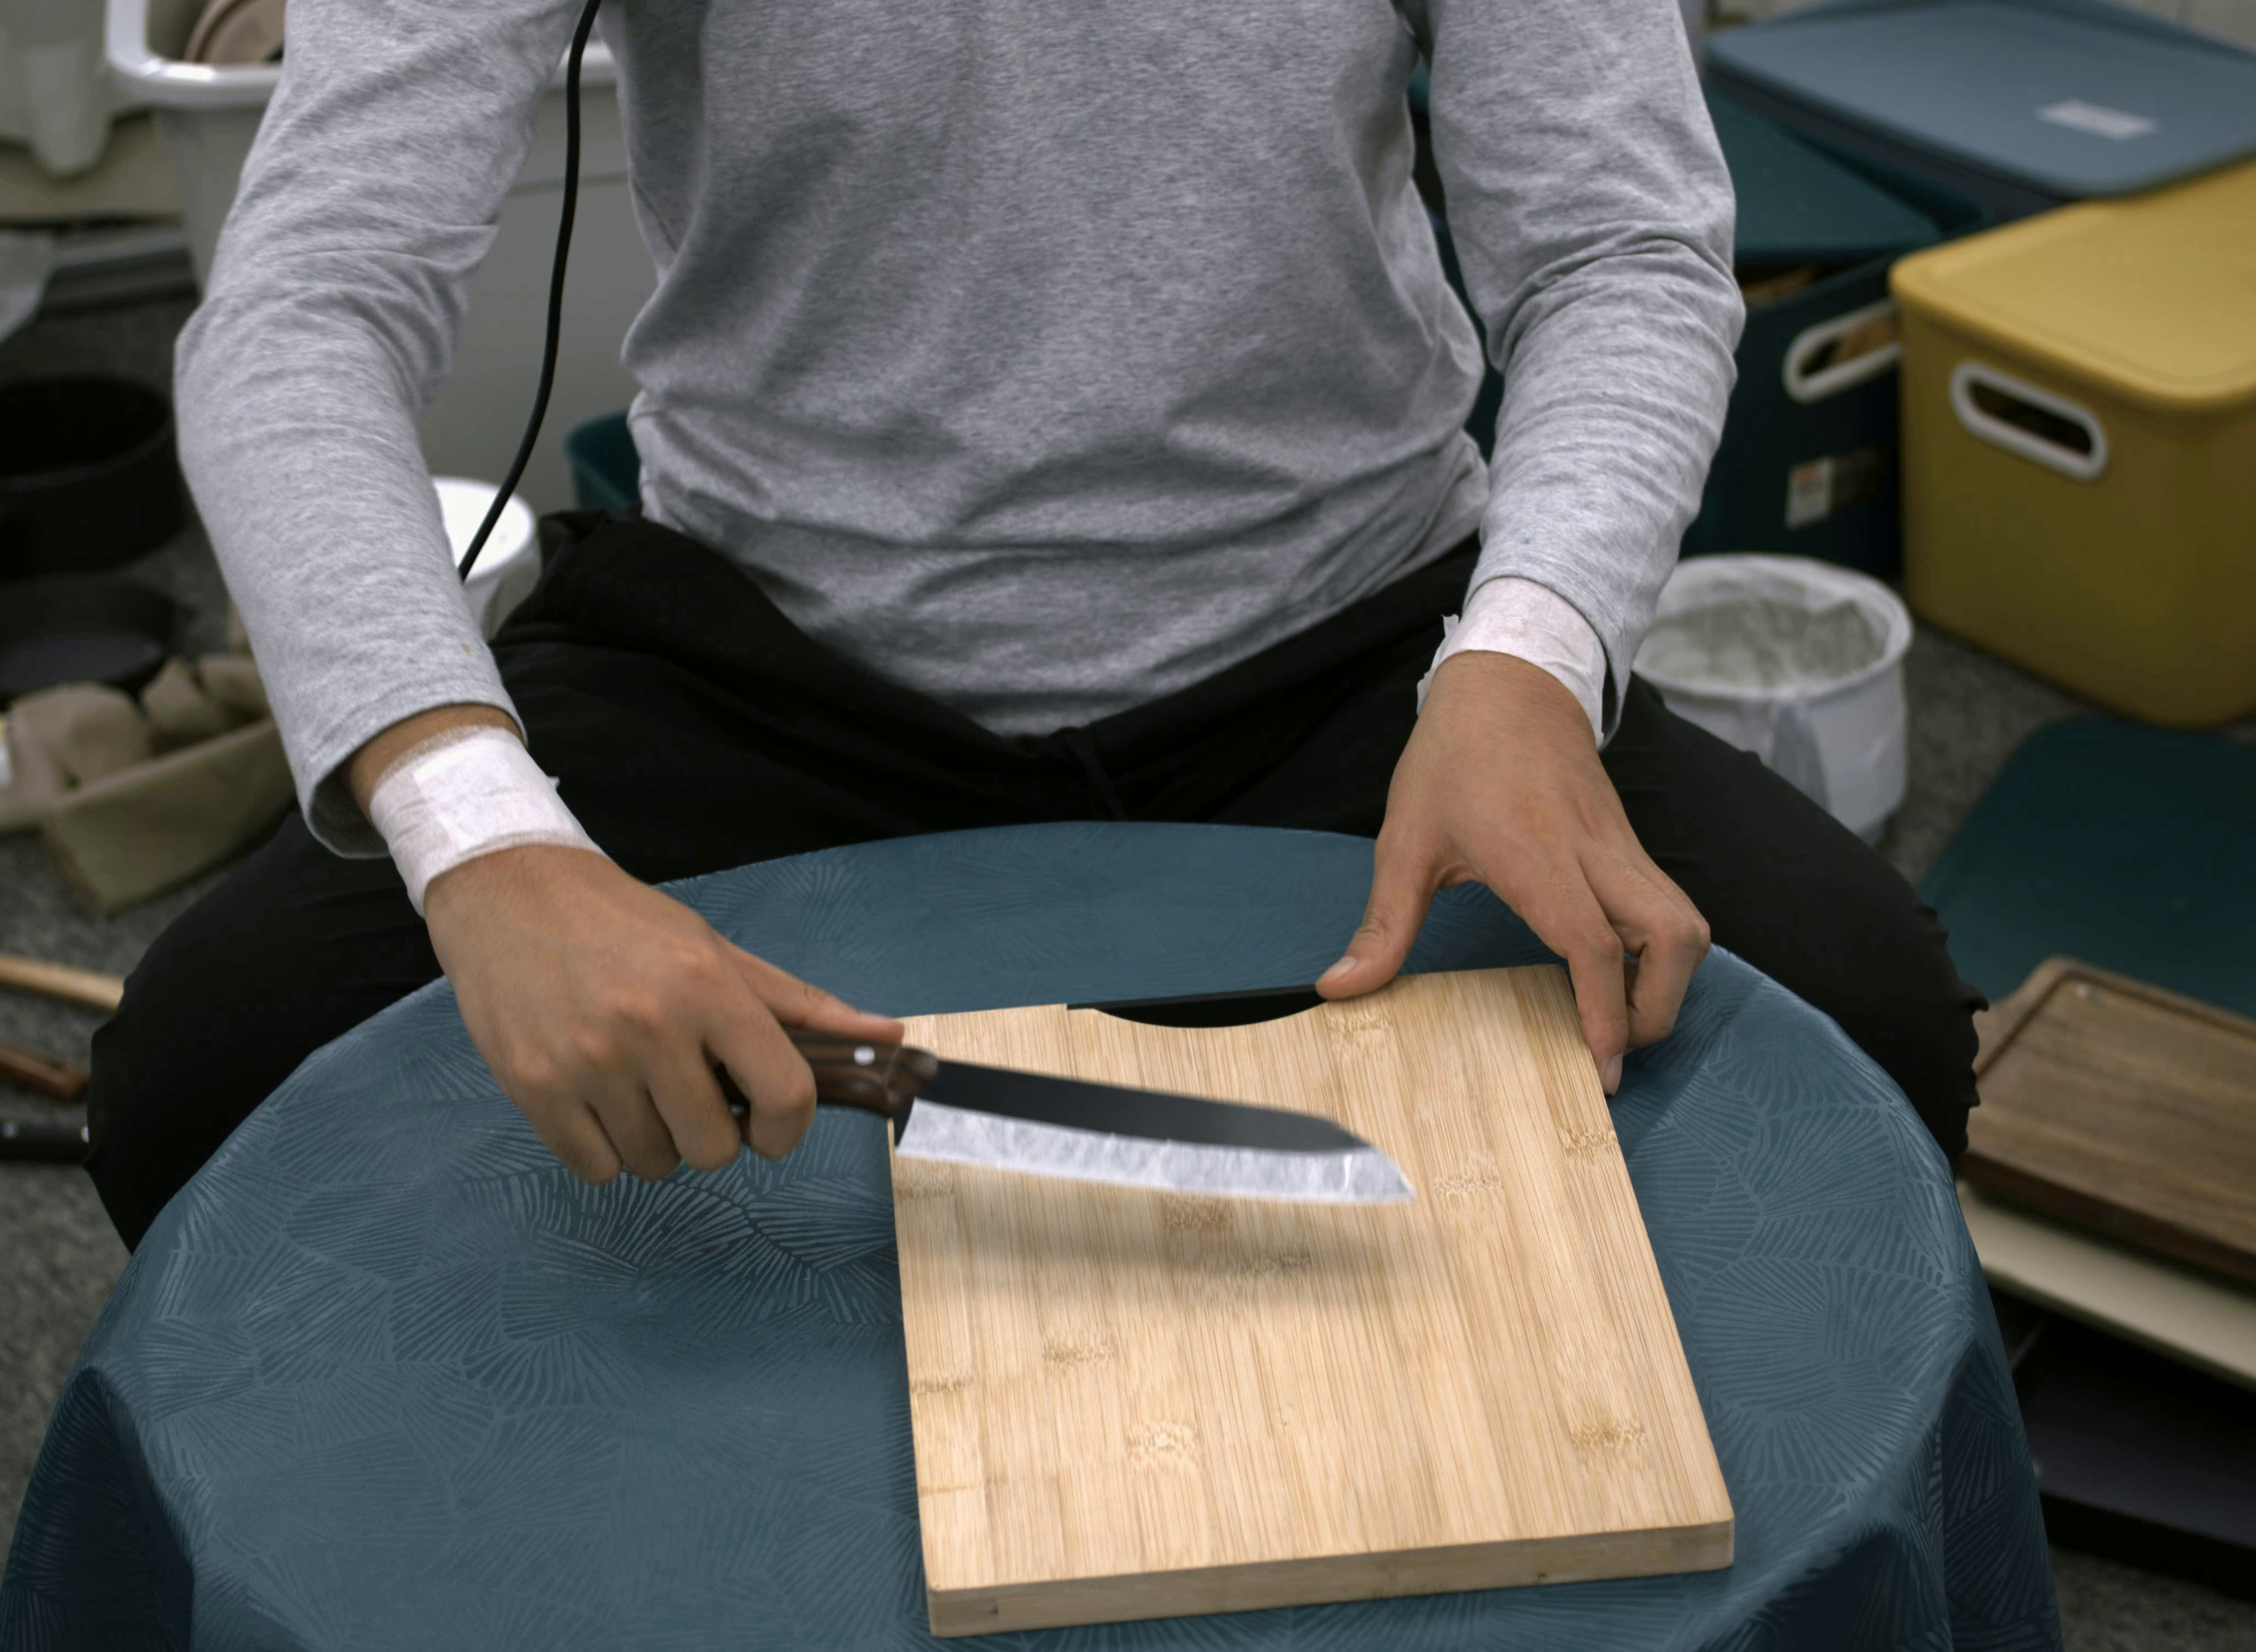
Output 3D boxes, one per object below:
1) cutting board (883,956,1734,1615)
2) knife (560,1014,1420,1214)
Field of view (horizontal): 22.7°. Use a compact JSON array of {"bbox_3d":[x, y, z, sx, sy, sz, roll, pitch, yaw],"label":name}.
[{"bbox_3d":[0.047,0.141,1.802,0.250,0.023,0.353,-4,27,-4],"label":"cutting board"},{"bbox_3d":[-0.047,0.093,1.792,0.287,0.020,0.051,9,44,11],"label":"knife"}]
